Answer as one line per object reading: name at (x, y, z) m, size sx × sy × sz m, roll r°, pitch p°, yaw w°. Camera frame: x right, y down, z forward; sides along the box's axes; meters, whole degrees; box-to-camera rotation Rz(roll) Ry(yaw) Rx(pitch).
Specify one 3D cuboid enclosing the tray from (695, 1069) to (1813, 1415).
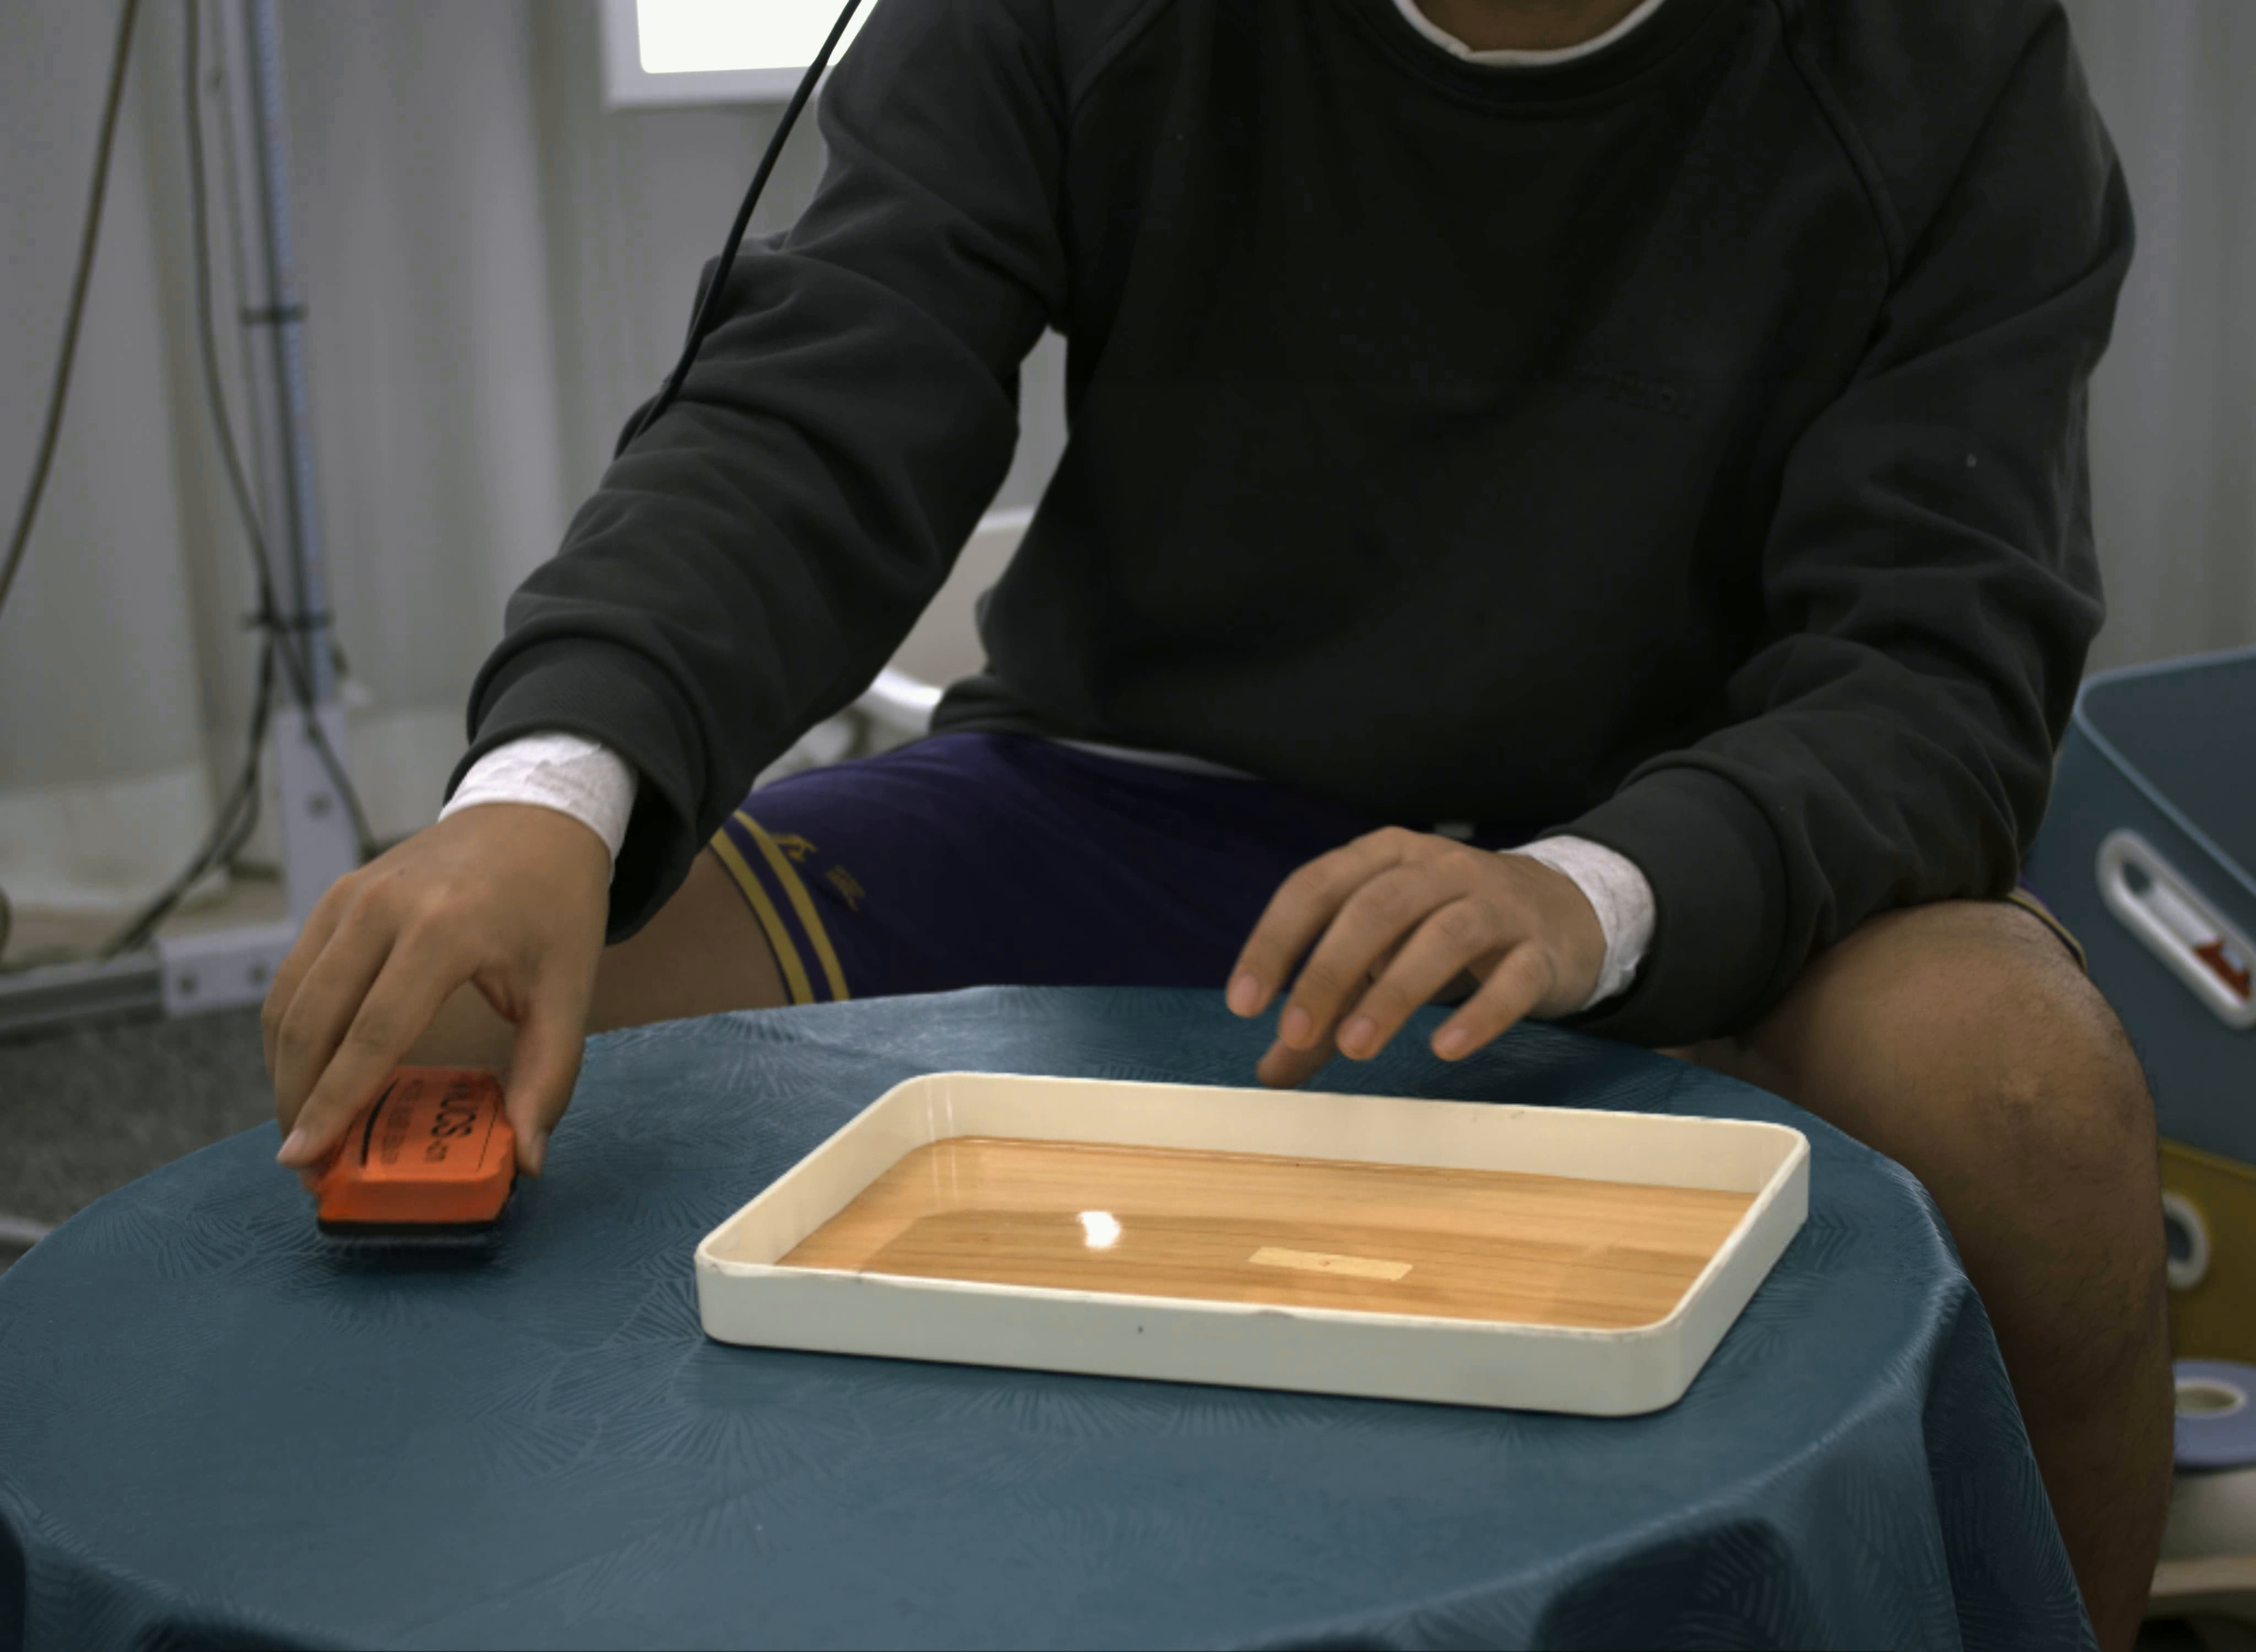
tray at (0.040, 0.121, 1.631) m, size 0.300 × 0.027 × 0.192 m, roll 3°, pitch 16°, yaw 21°

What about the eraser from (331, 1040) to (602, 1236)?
eraser at (-0.206, 0.097, 1.711) m, size 0.059 × 0.023 × 0.108 m, roll 2°, pitch 19°, yaw 12°
